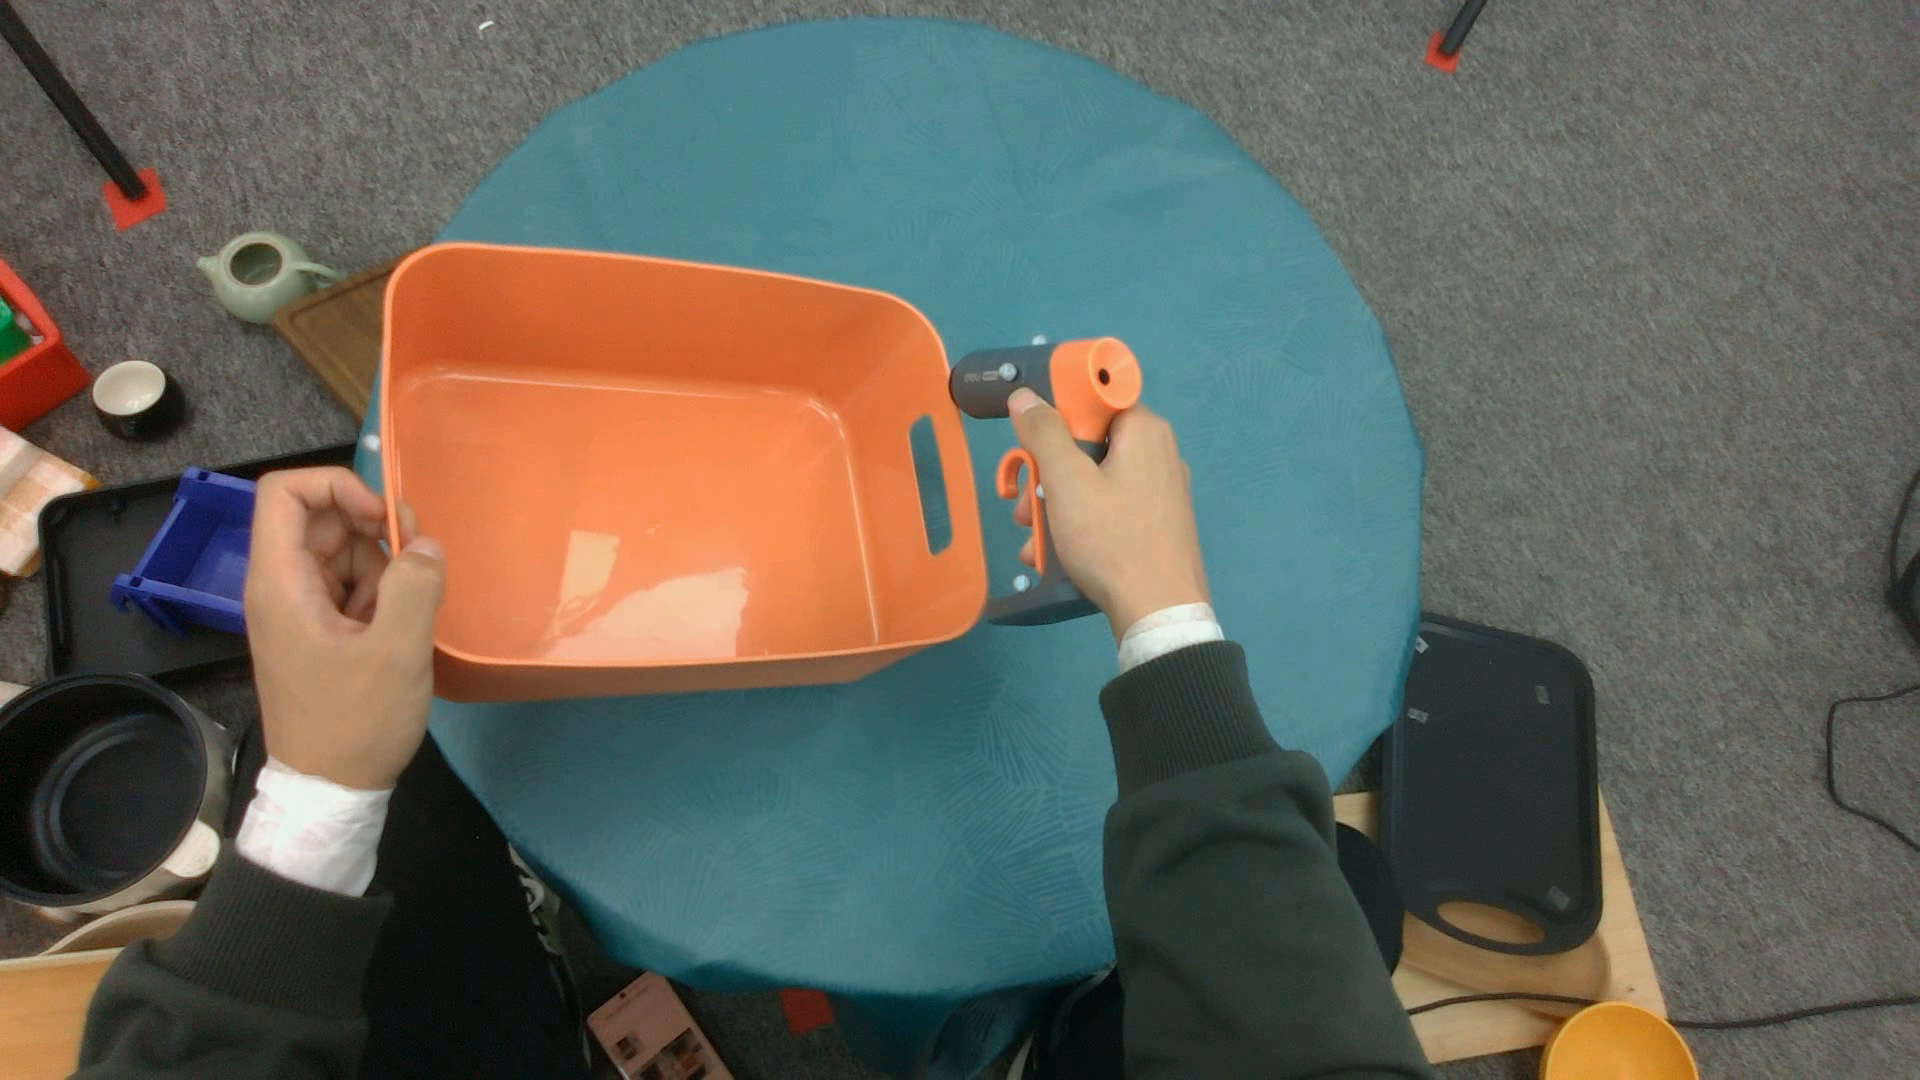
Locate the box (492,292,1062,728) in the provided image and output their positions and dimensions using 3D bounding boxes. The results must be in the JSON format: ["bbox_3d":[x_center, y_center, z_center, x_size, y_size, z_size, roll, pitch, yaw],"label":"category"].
[{"bbox_3d":[-0.096,-0.003,0.684,0.274,0.102,0.200,2,67,-27],"label":"box"}]

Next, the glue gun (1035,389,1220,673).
[{"bbox_3d":[0.076,-0.010,0.658,0.041,0.117,0.140,8,72,-31],"label":"glue gun"}]
